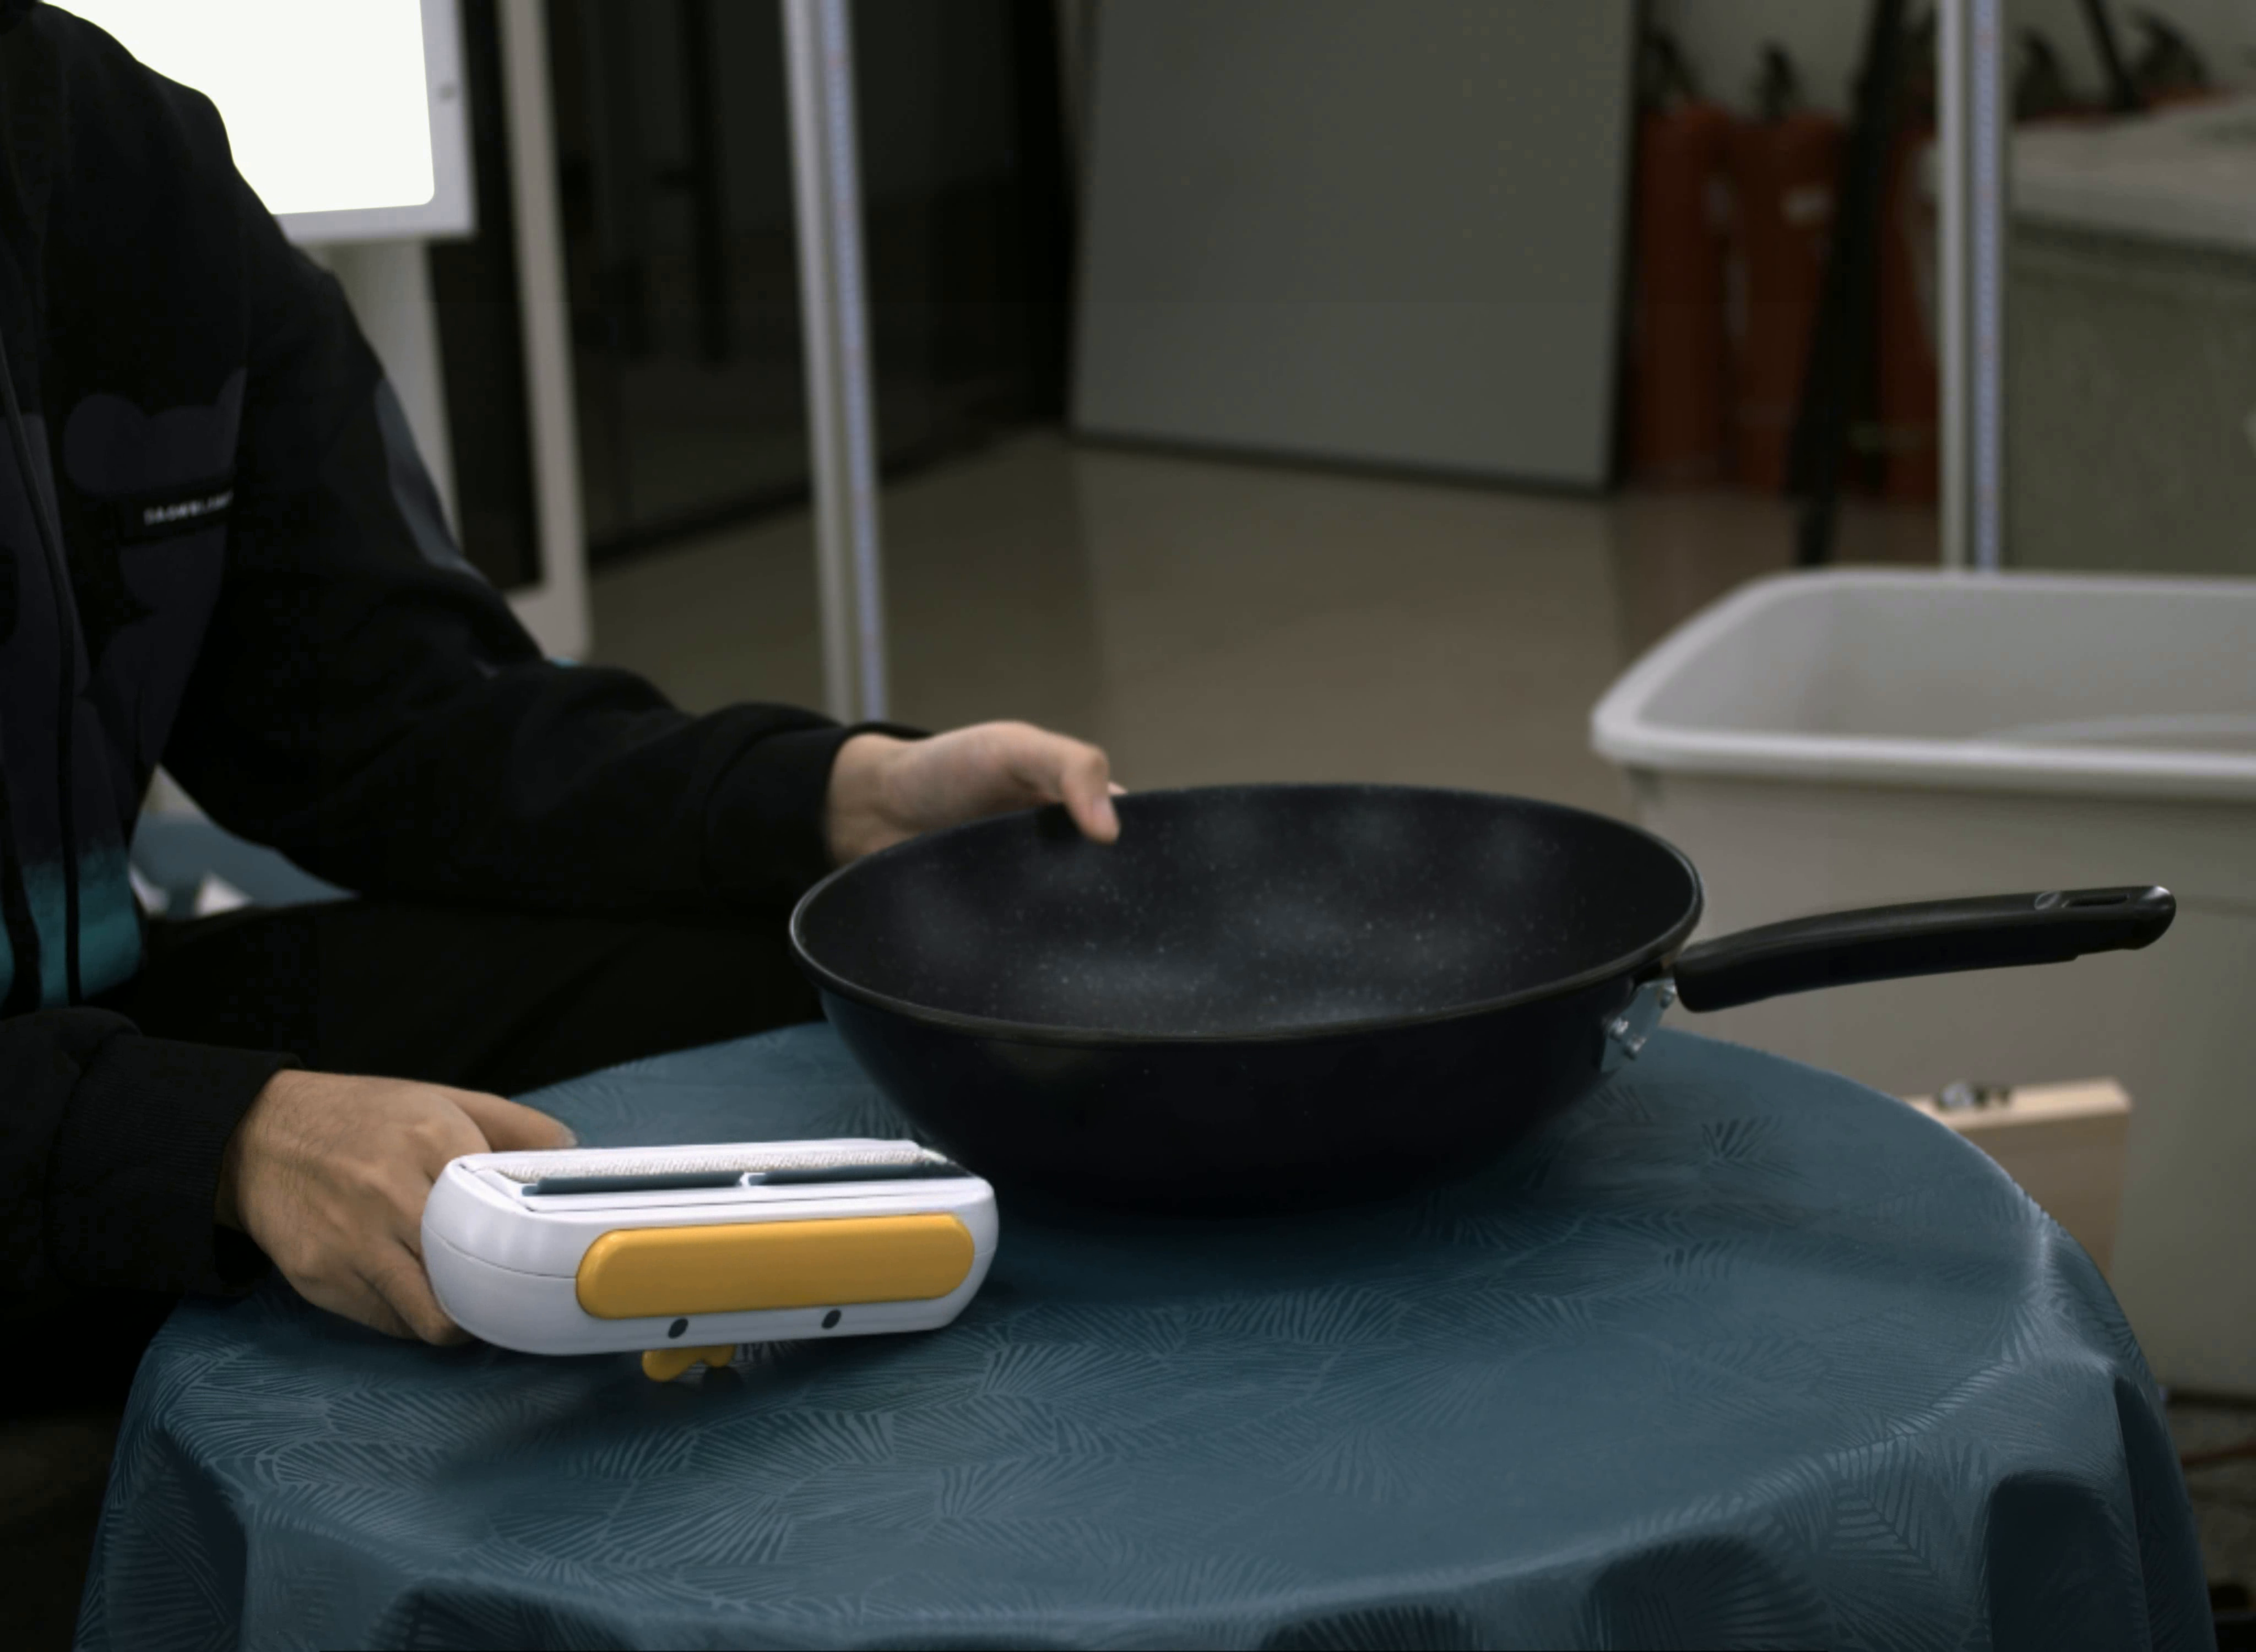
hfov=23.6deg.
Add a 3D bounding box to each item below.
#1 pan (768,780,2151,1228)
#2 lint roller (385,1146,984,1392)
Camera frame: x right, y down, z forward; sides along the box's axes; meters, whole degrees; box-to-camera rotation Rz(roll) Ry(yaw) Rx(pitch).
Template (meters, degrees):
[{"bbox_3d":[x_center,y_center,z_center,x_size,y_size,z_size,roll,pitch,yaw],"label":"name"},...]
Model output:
[{"bbox_3d":[0.107,0.060,1.764,0.478,0.113,0.306,4,18,29],"label":"pan"},{"bbox_3d":[-0.163,0.125,1.662,0.188,0.075,0.194,-4,9,-35],"label":"lint roller"}]
